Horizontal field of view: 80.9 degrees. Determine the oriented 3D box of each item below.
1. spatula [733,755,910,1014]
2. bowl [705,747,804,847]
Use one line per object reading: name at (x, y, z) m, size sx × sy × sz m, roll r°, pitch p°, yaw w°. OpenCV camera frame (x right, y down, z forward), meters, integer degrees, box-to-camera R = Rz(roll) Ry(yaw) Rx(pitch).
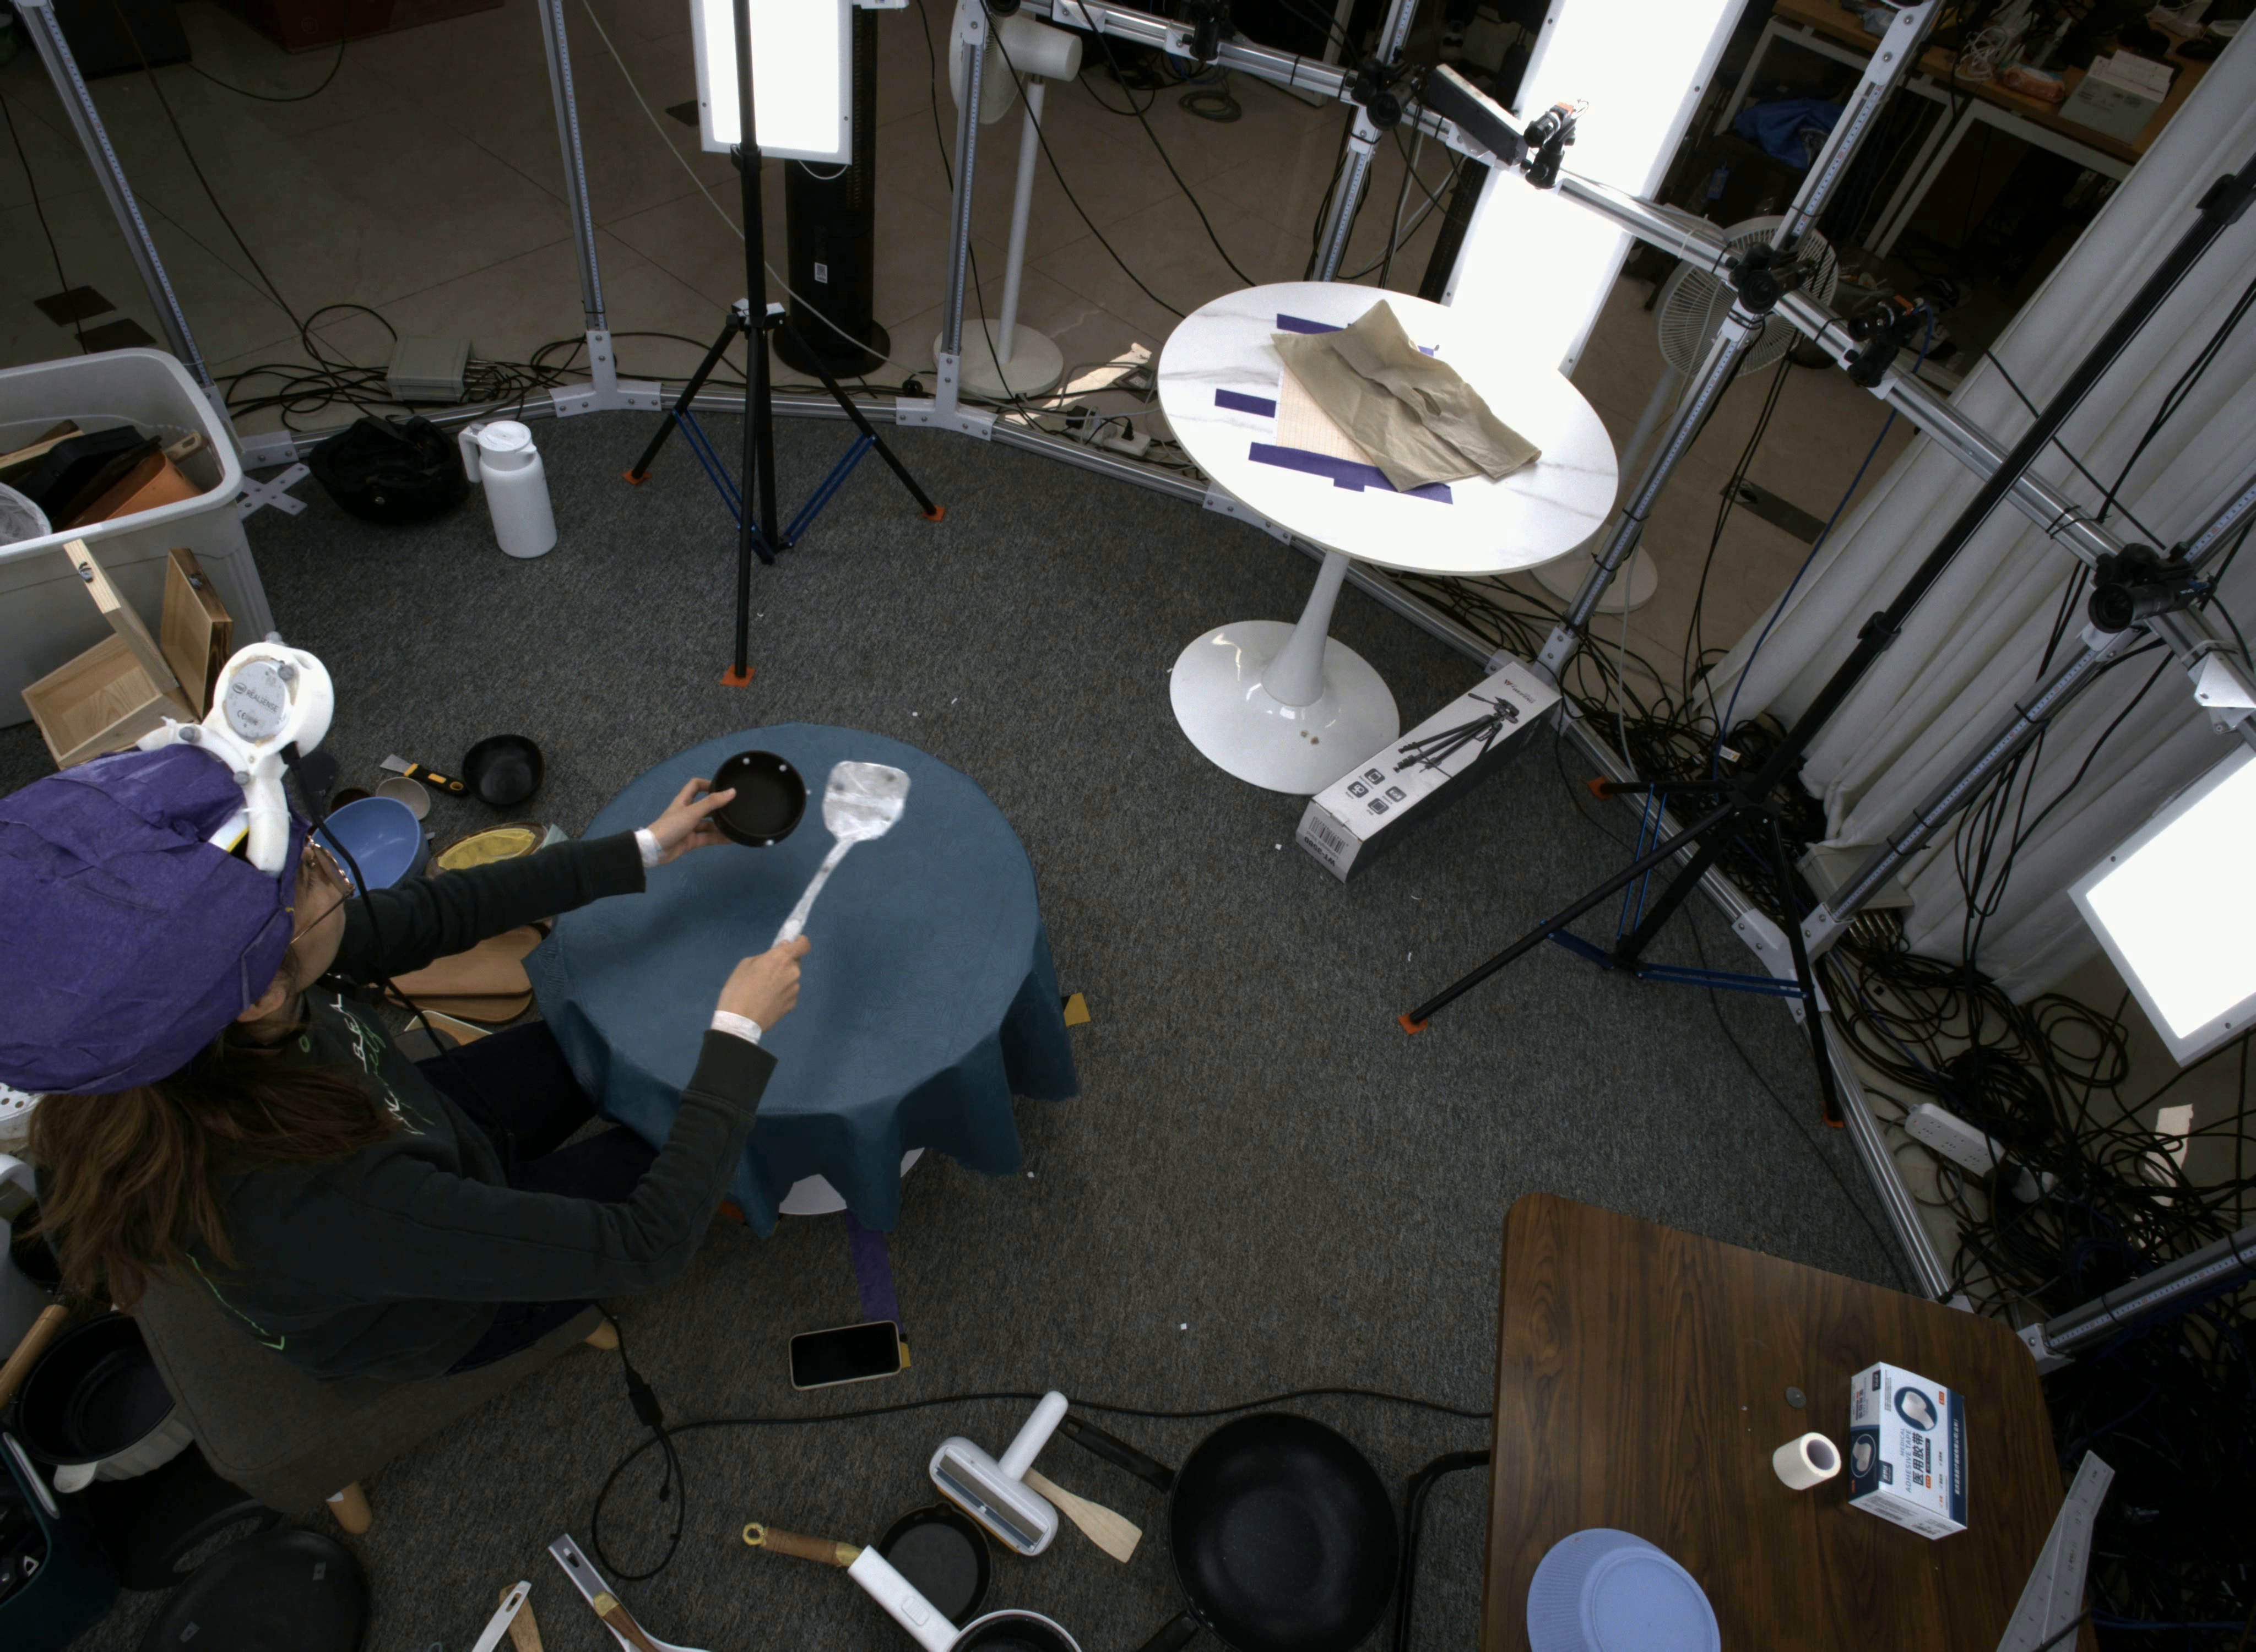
spatula at (-0.344, 0.055, 1.422) m, size 0.097 × 0.046 × 0.361 m, roll 13°, pitch 45°, yaw 8°
bowl at (-0.461, -0.030, 1.587) m, size 0.119 × 0.069 × 0.117 m, roll 12°, pitch 64°, yaw -22°
